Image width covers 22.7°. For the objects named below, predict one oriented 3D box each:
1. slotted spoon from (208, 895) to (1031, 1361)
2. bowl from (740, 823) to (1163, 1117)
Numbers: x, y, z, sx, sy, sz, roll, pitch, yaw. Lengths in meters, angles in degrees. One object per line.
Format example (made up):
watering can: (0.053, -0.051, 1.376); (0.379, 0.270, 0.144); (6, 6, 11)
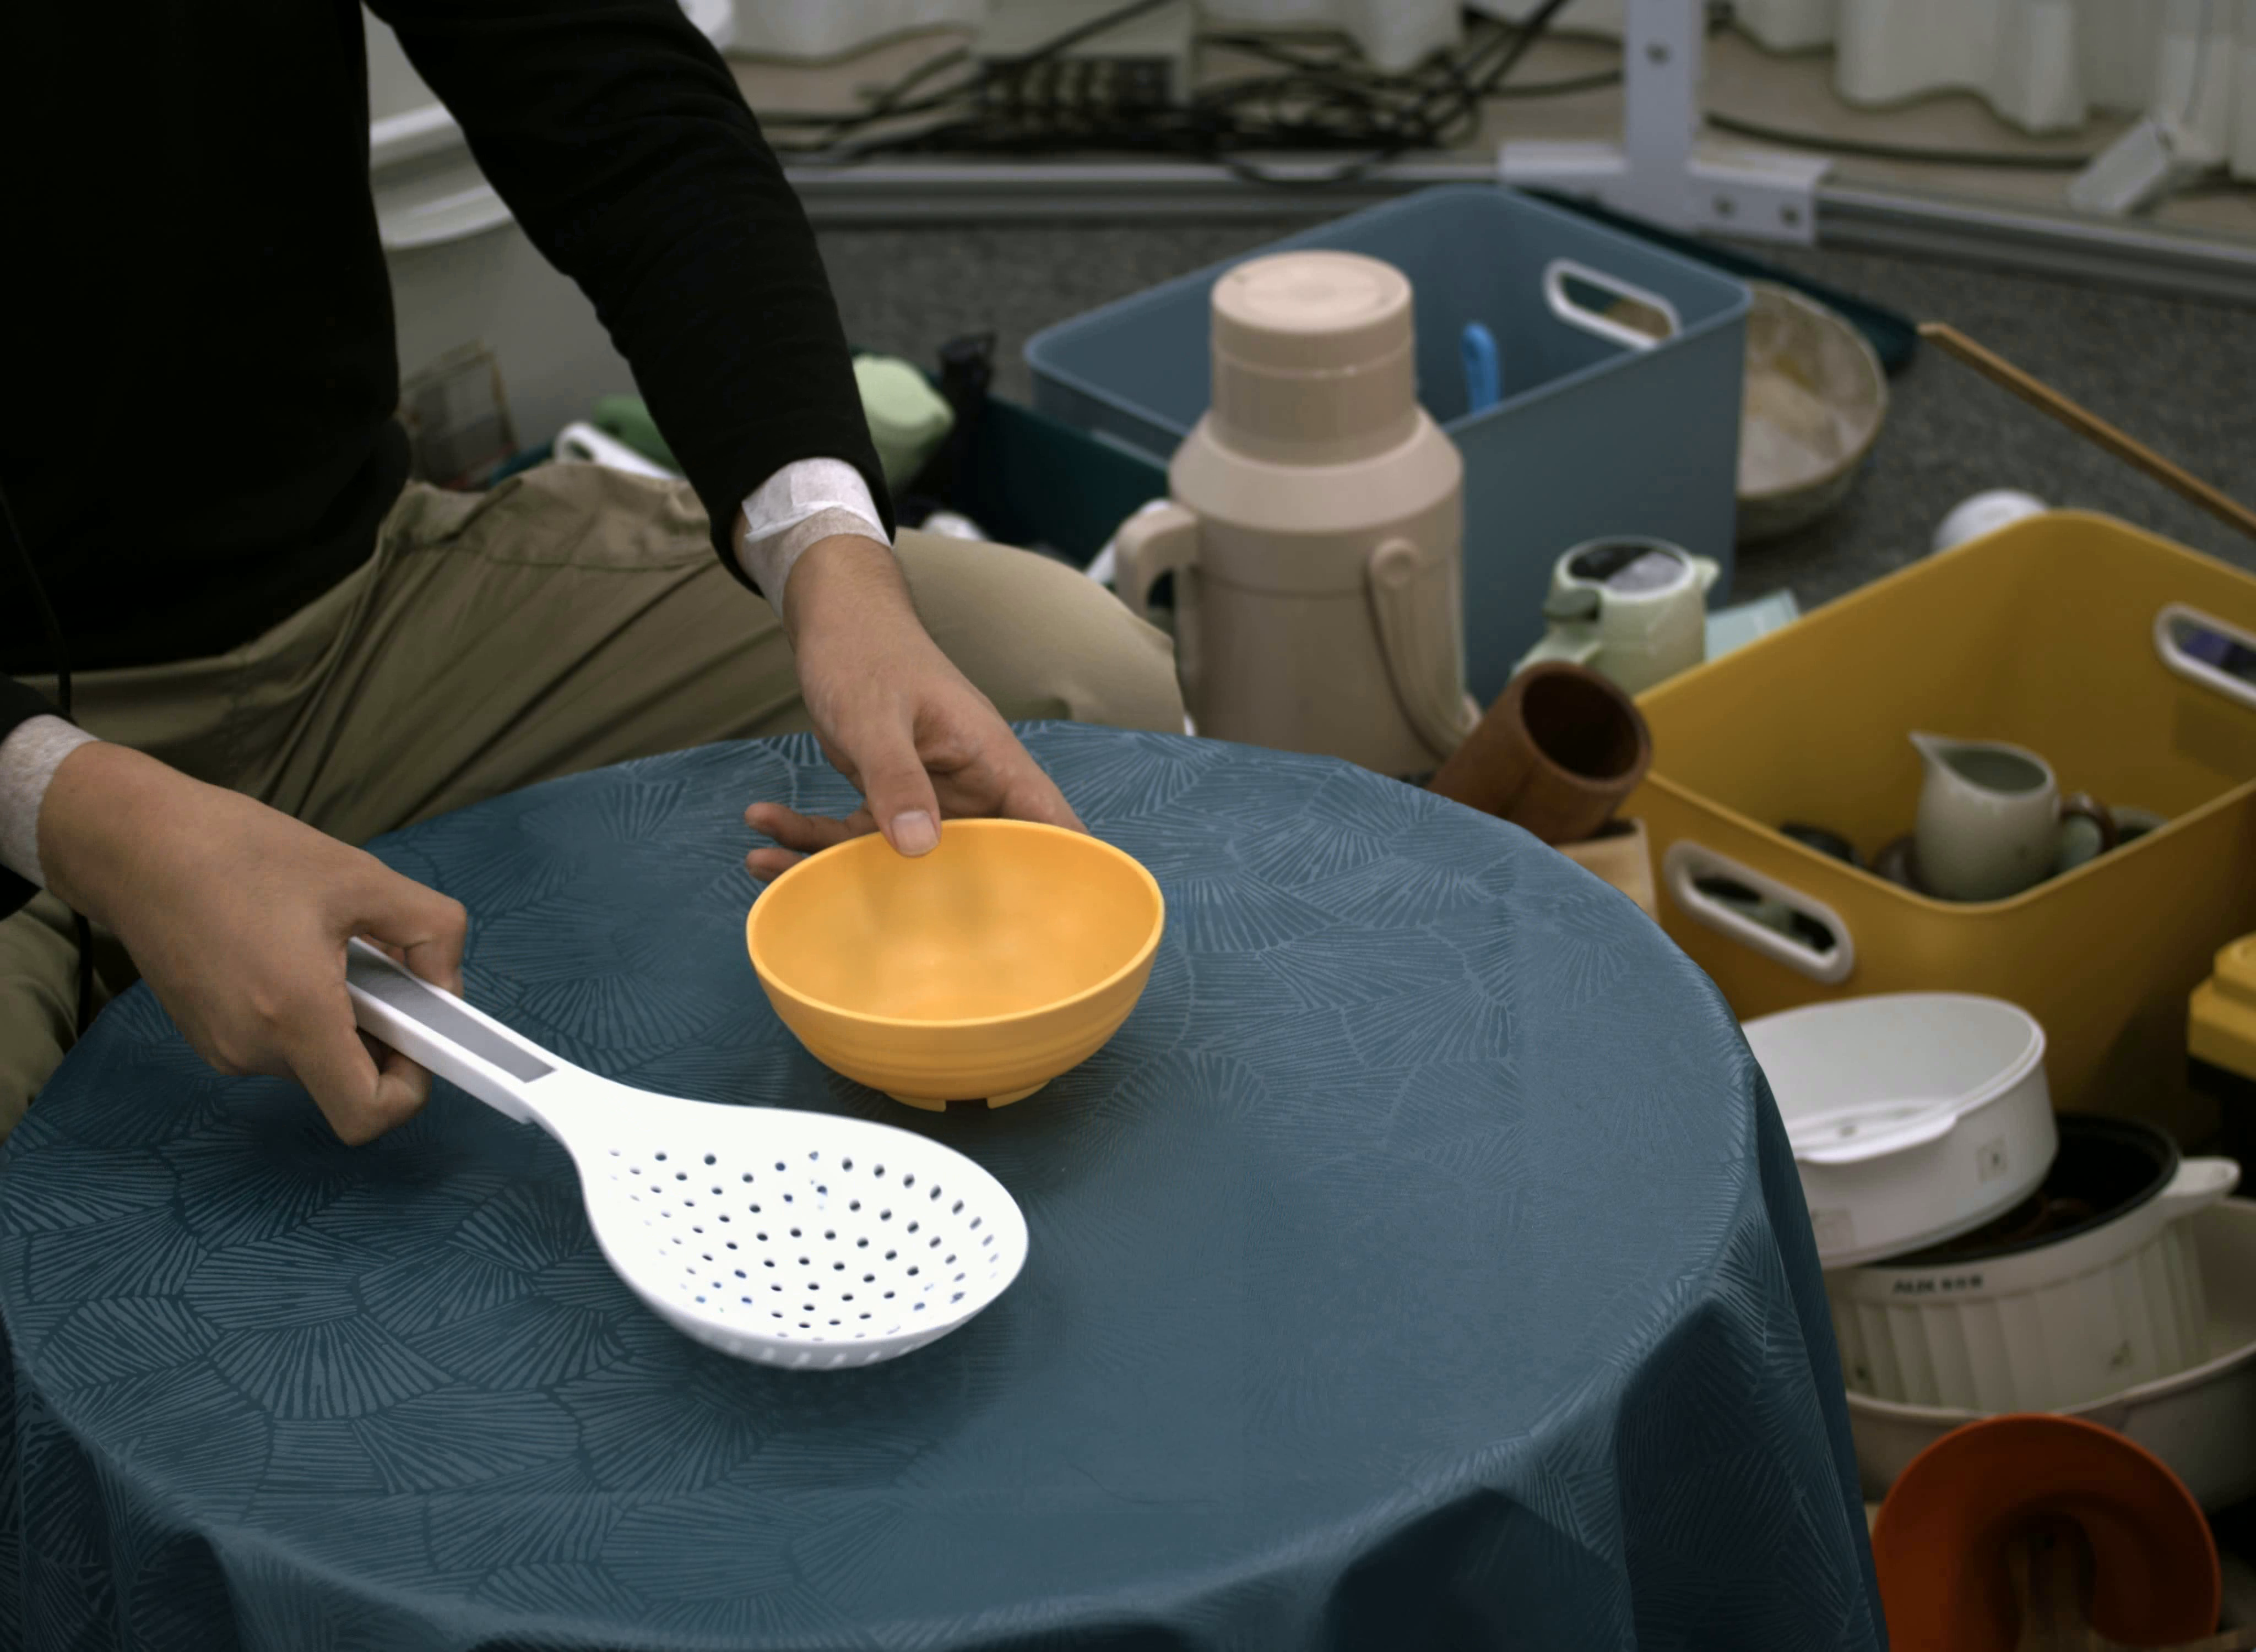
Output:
slotted spoon: (-0.179, 0.094, 1.839); (0.350, 0.045, 0.137); (30, 31, 32)
bowl: (-0.060, 0.058, 1.929); (0.144, 0.059, 0.147); (0, 27, 1)
